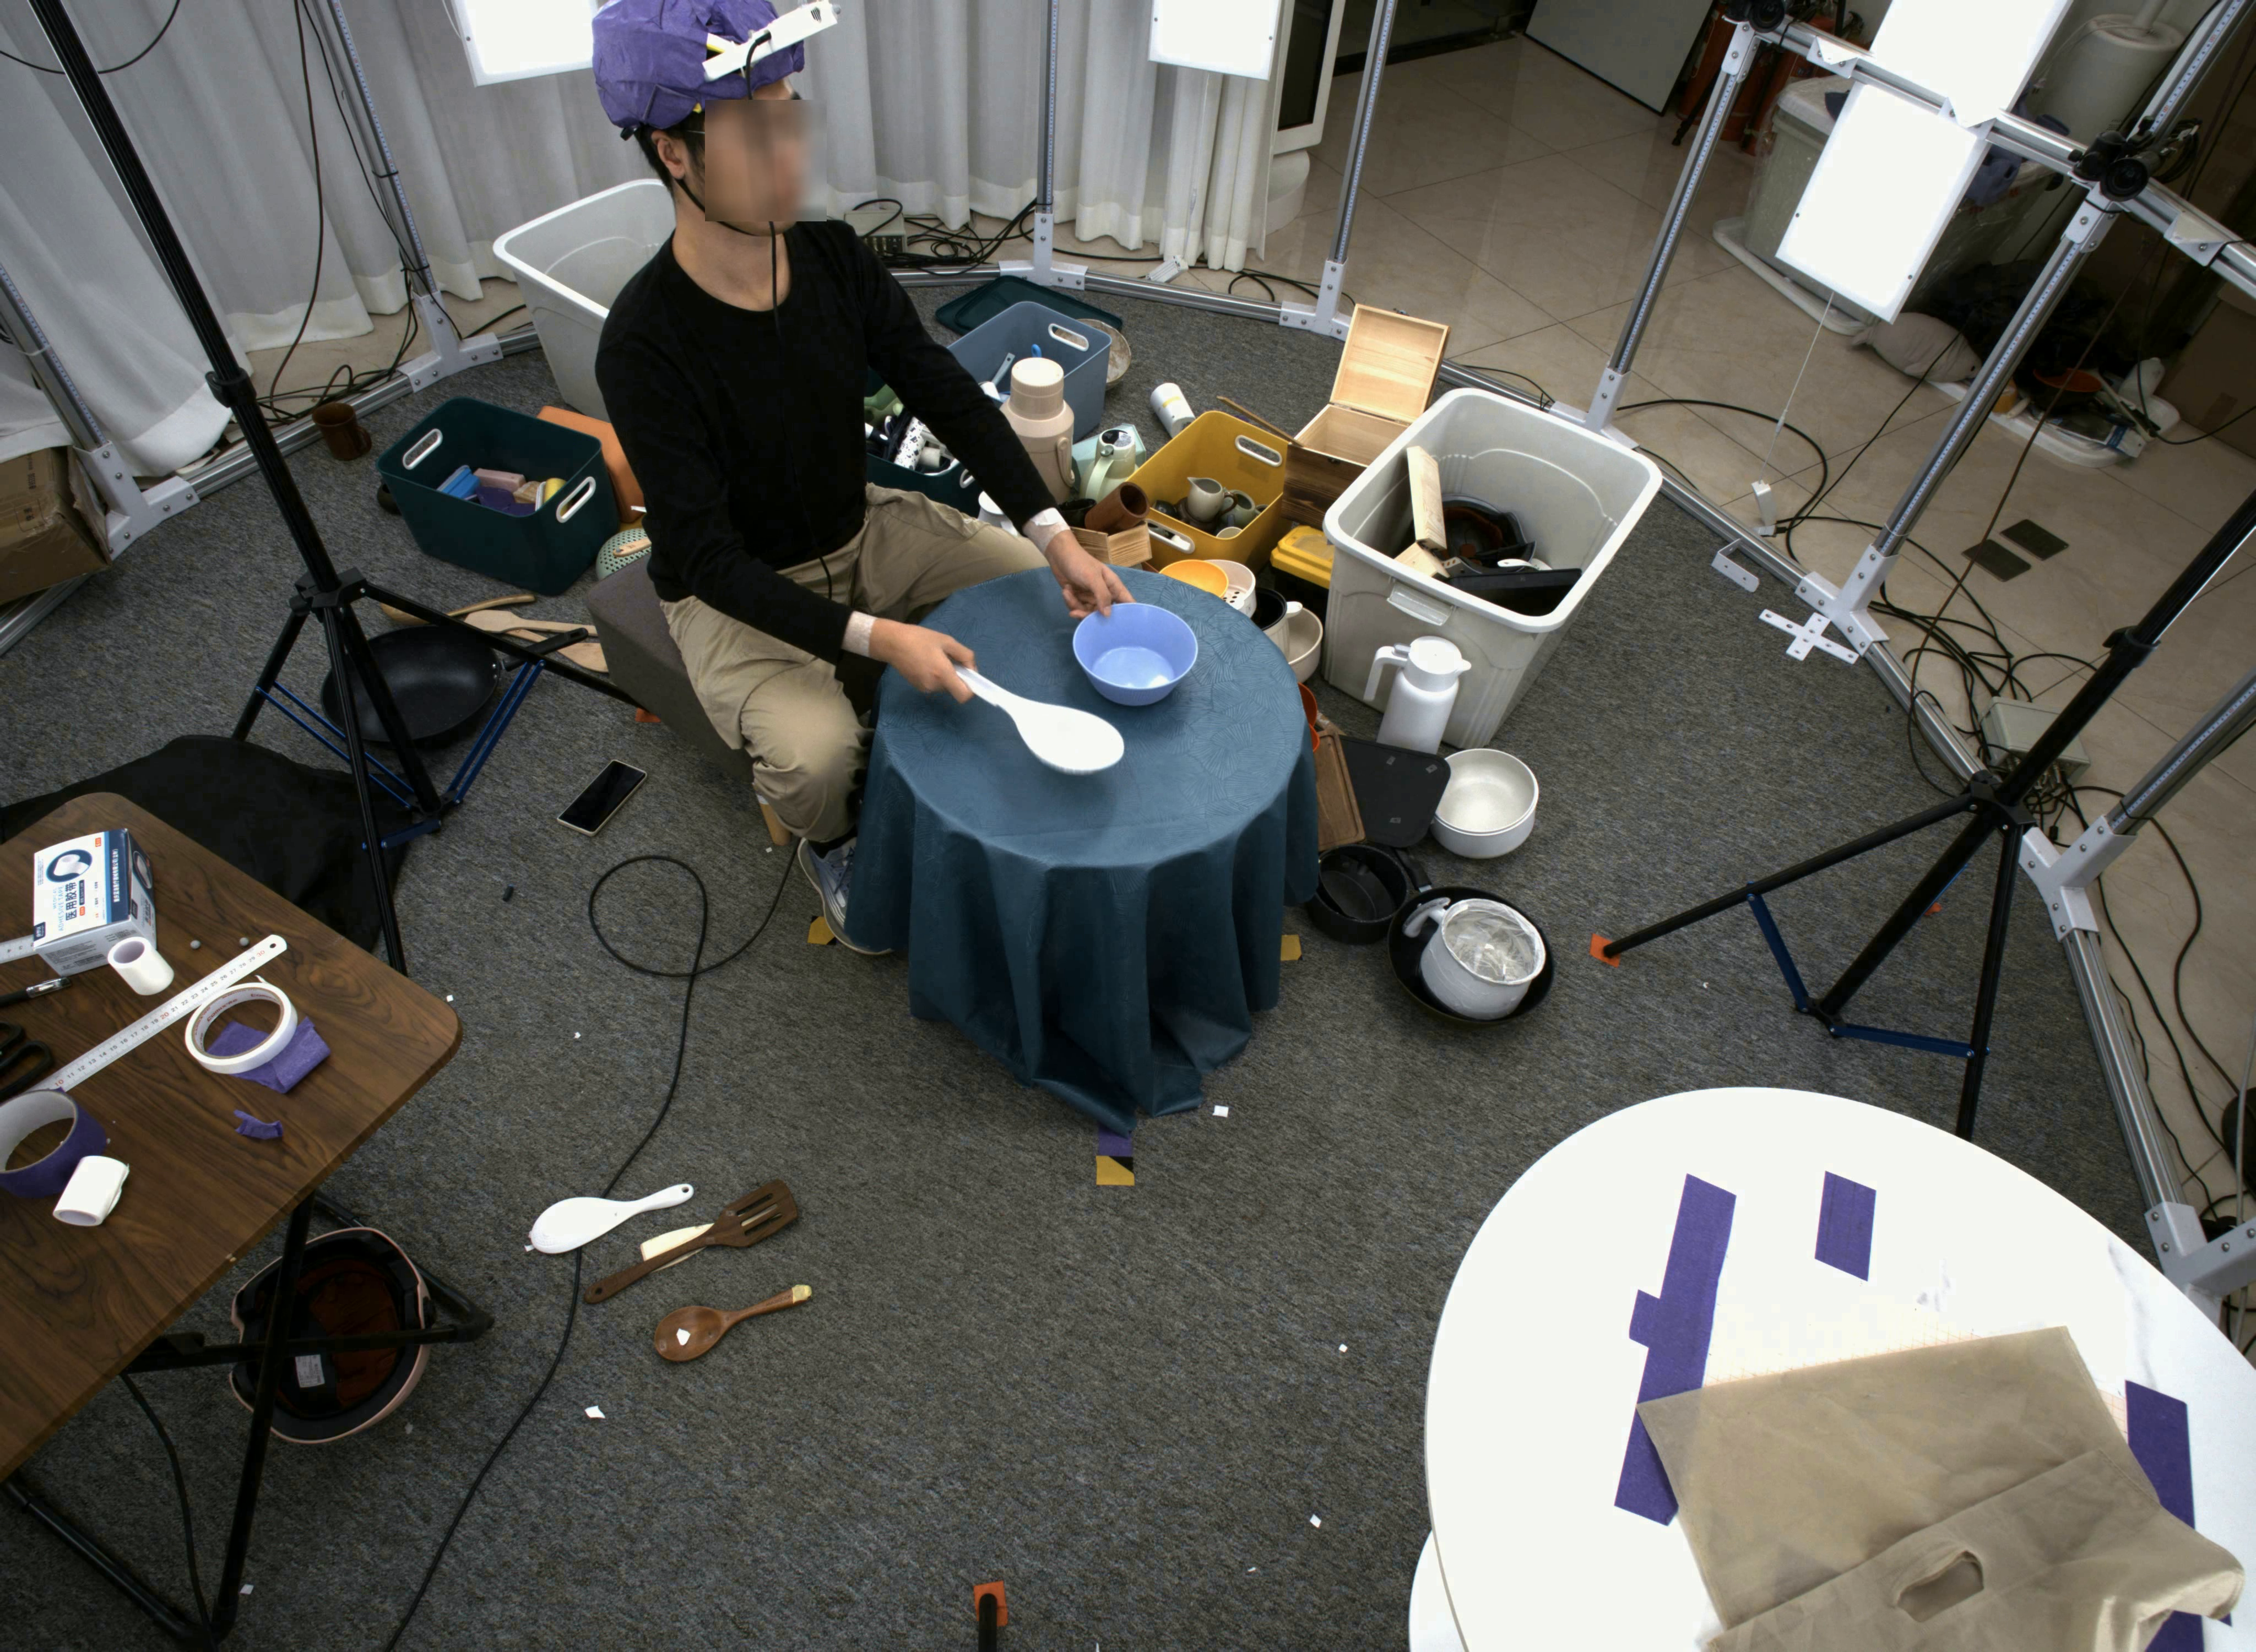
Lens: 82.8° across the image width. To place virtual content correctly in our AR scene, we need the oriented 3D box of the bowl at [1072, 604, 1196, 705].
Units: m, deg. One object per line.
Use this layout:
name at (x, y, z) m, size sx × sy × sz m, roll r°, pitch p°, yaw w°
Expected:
bowl at (0.007, -0.236, 1.830) m, size 0.176 × 0.068 × 0.180 m, roll 1°, pitch 49°, yaw -2°

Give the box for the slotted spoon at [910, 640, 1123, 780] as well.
slotted spoon at (-0.158, -0.159, 1.716) m, size 0.354 × 0.045 × 0.137 m, roll 37°, pitch 41°, yaw 19°
